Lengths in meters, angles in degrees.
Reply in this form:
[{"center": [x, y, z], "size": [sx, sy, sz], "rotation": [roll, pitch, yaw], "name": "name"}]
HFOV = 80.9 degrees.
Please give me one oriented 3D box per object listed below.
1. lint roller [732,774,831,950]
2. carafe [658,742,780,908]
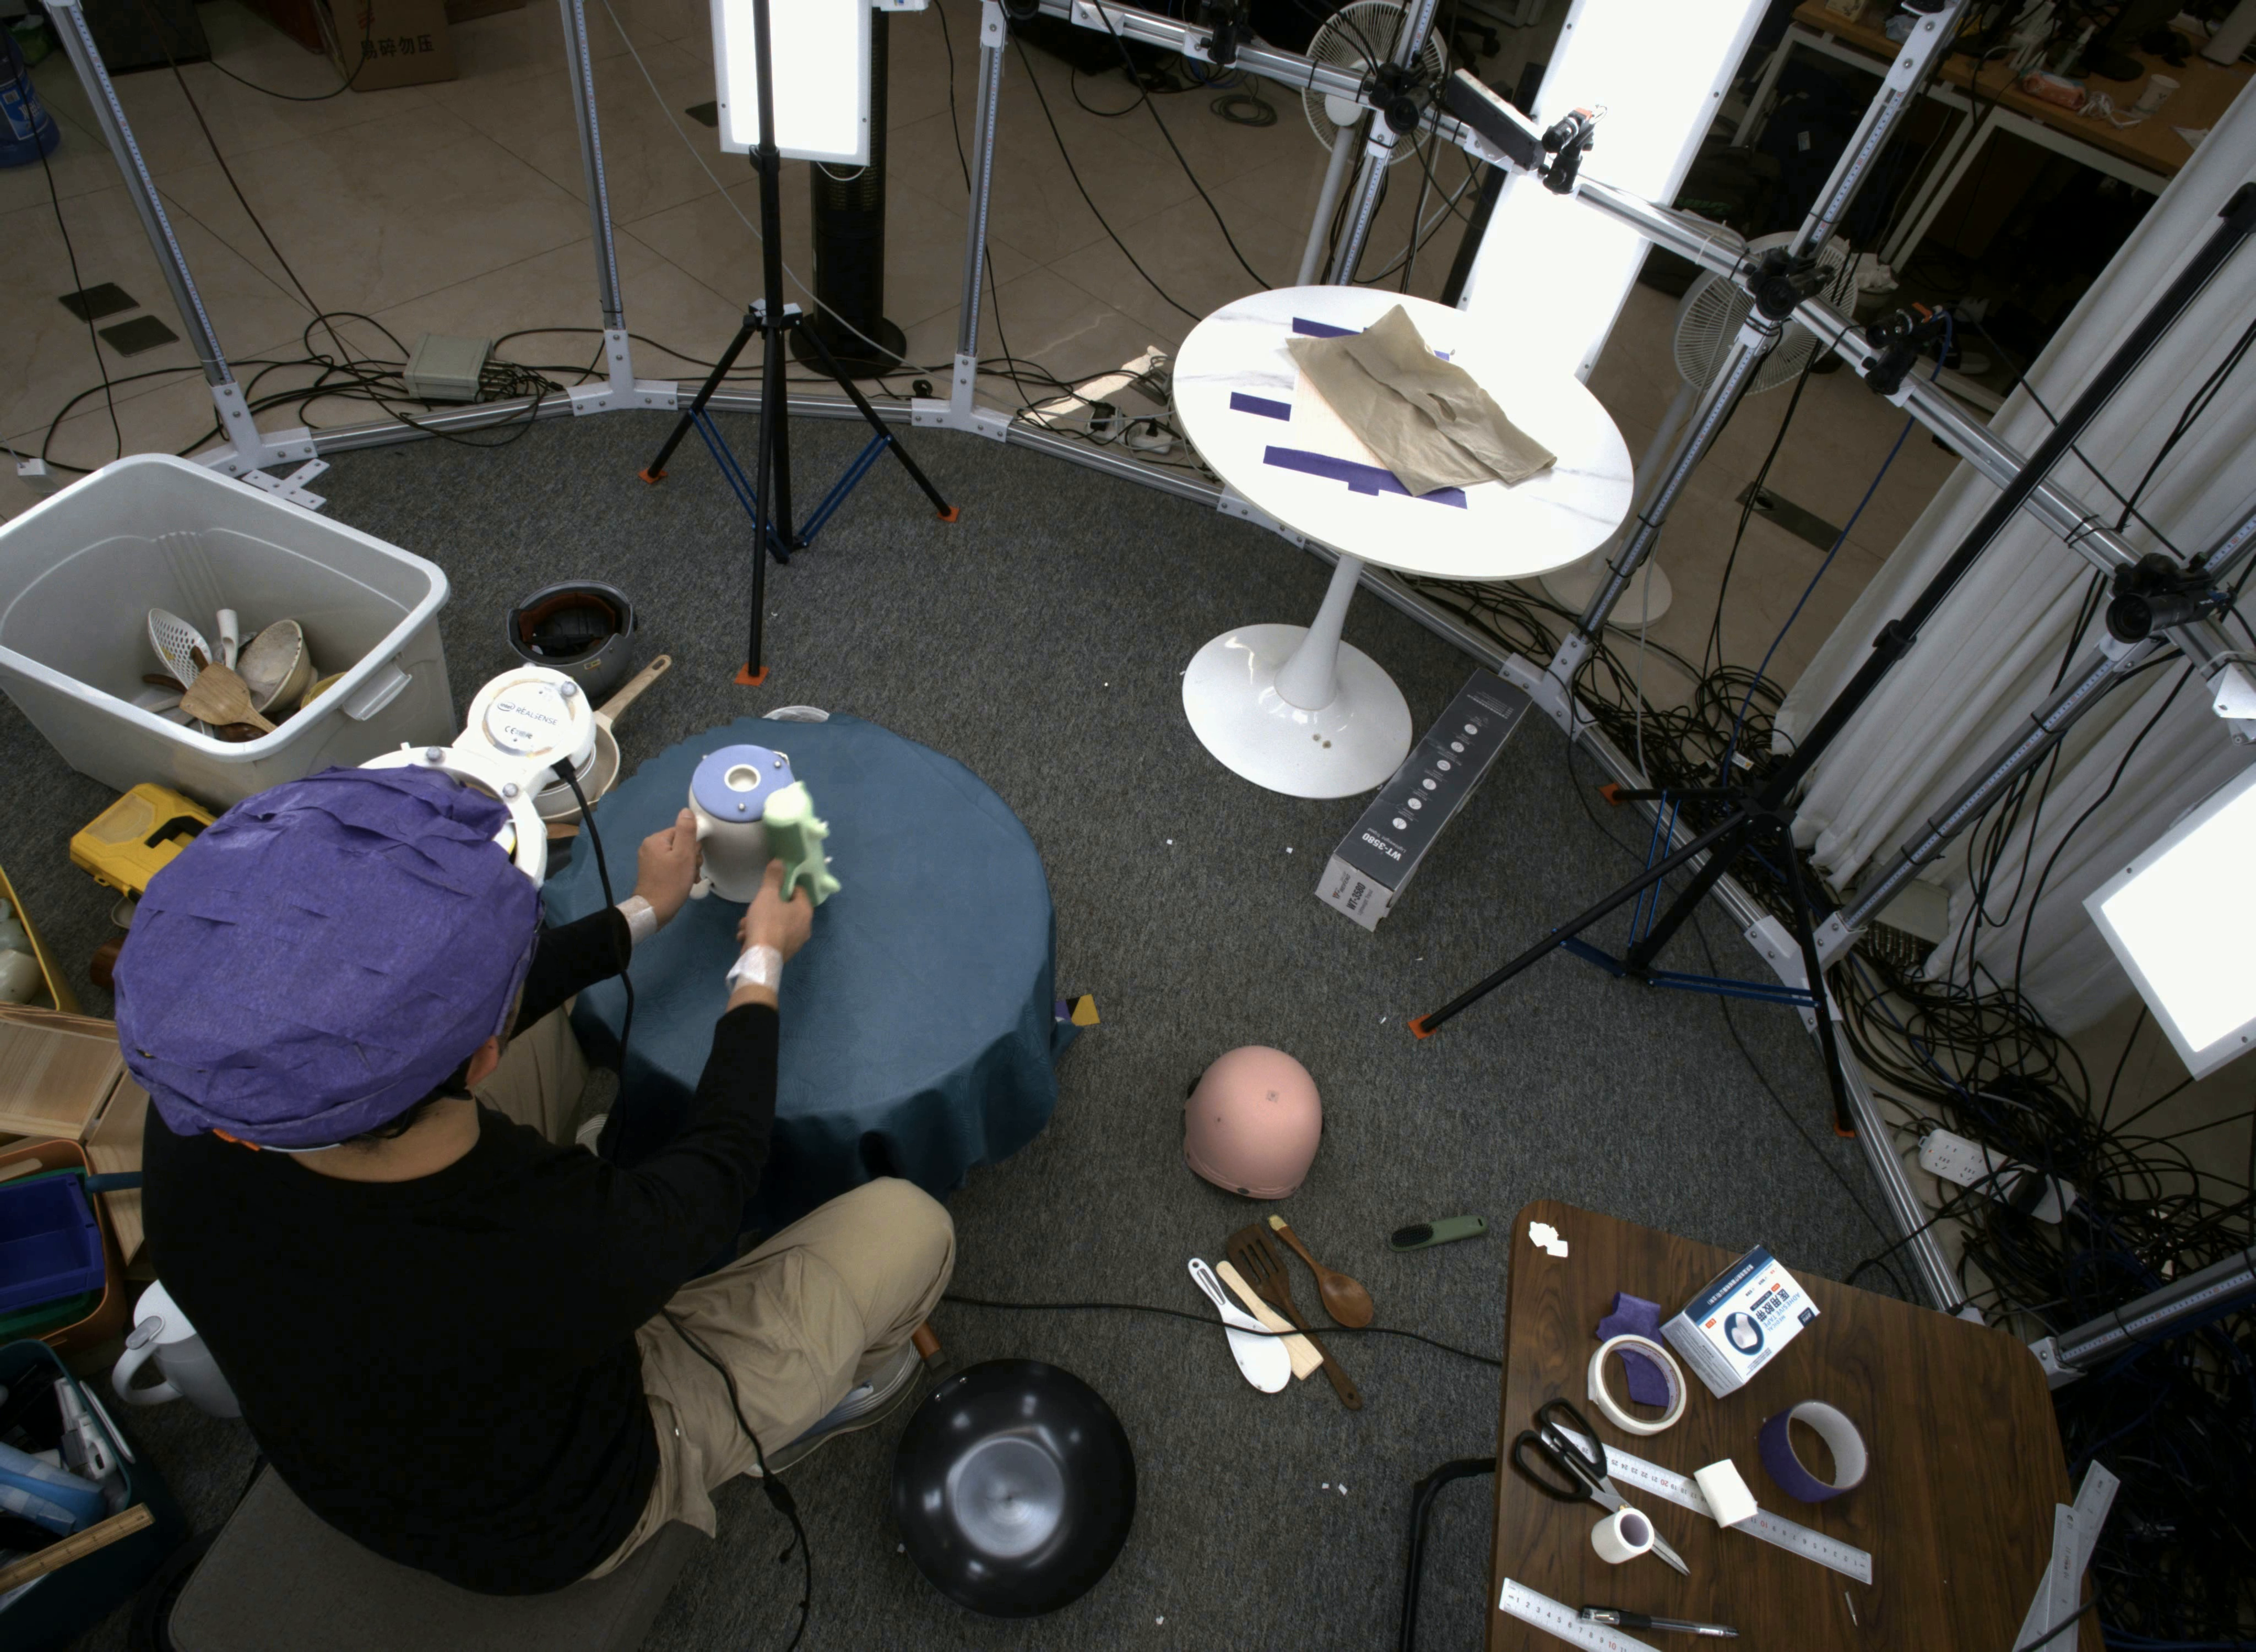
[{"center": [-0.406, 0.067, 1.526], "size": [0.081, 0.203, 0.180], "rotation": [6, 55, 0], "name": "lint roller"}, {"center": [-0.502, 0.012, 1.578], "size": [0.129, 0.186, 0.191], "rotation": [32, 55, 14], "name": "carafe"}]
